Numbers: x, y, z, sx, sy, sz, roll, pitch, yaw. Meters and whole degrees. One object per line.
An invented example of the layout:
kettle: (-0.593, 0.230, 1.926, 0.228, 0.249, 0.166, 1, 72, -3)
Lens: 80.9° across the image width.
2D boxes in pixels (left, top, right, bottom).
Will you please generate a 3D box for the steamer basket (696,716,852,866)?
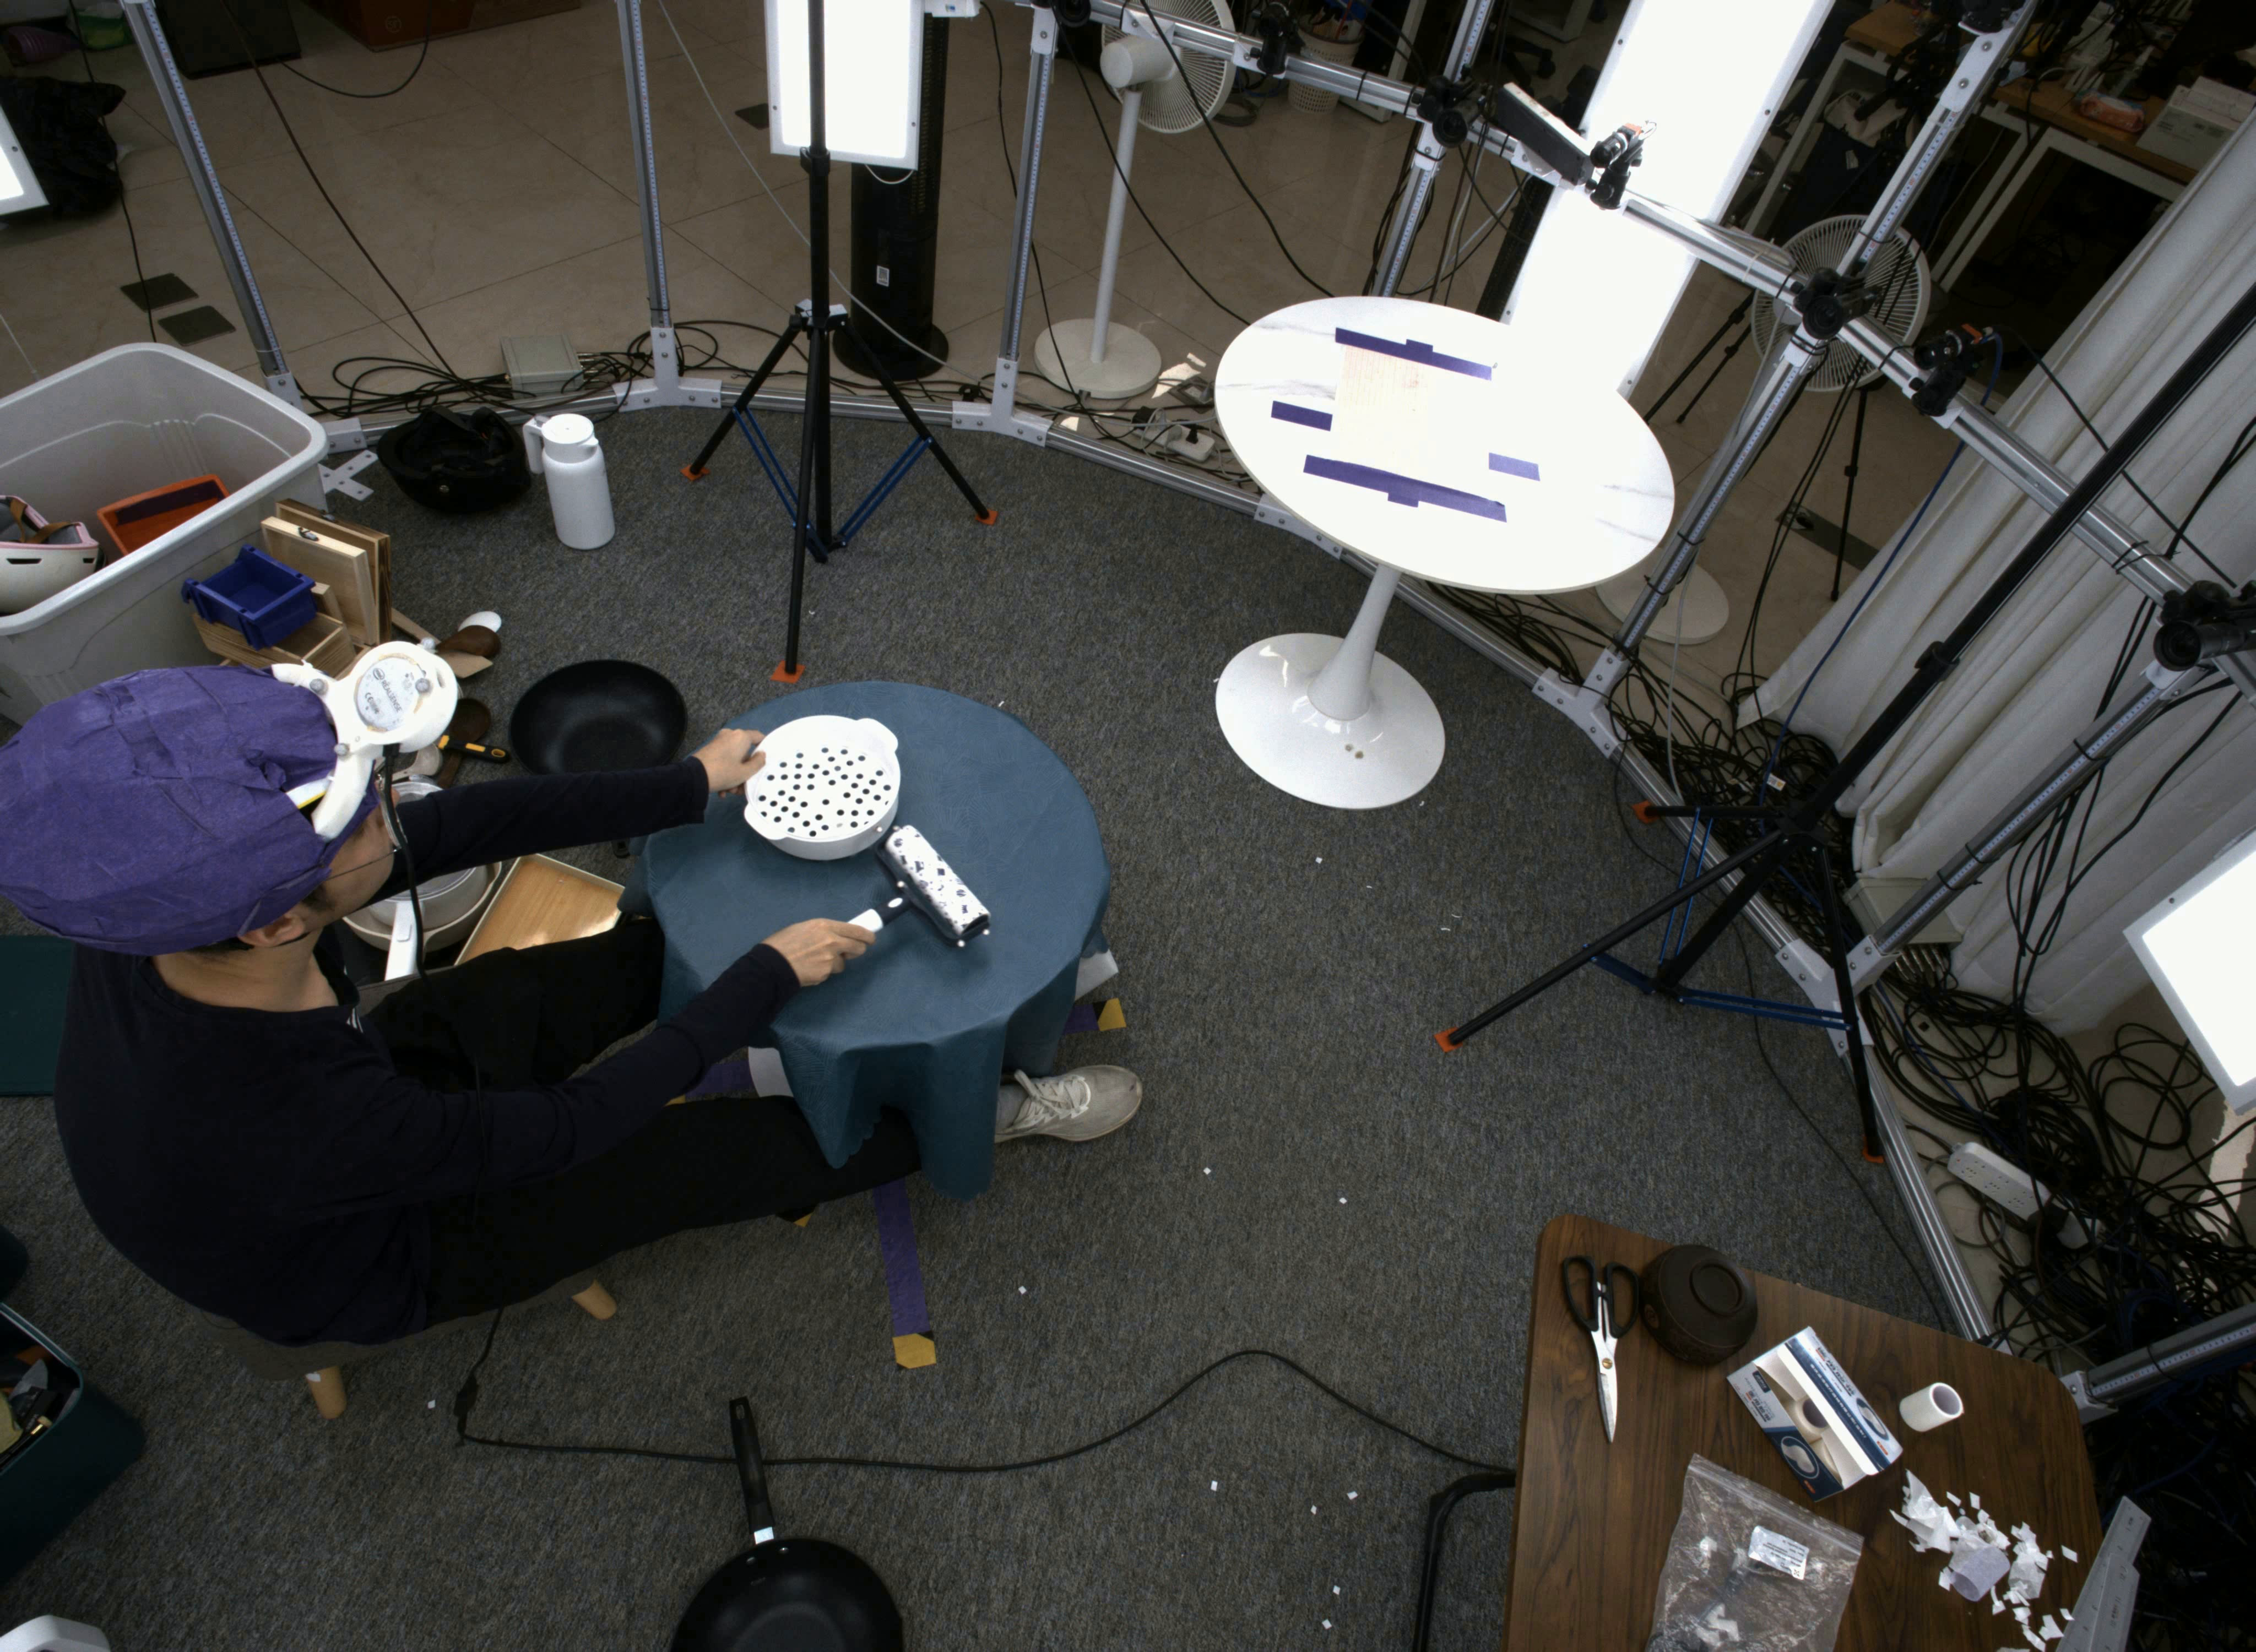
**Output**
steamer basket: (-0.463, -0.045, 1.709, 0.198, 0.070, 0.230, 37, 64, 12)

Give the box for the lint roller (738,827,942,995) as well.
lint roller: (-0.371, 0.122, 1.586, 0.173, 0.051, 0.247, 45, 58, 13)
